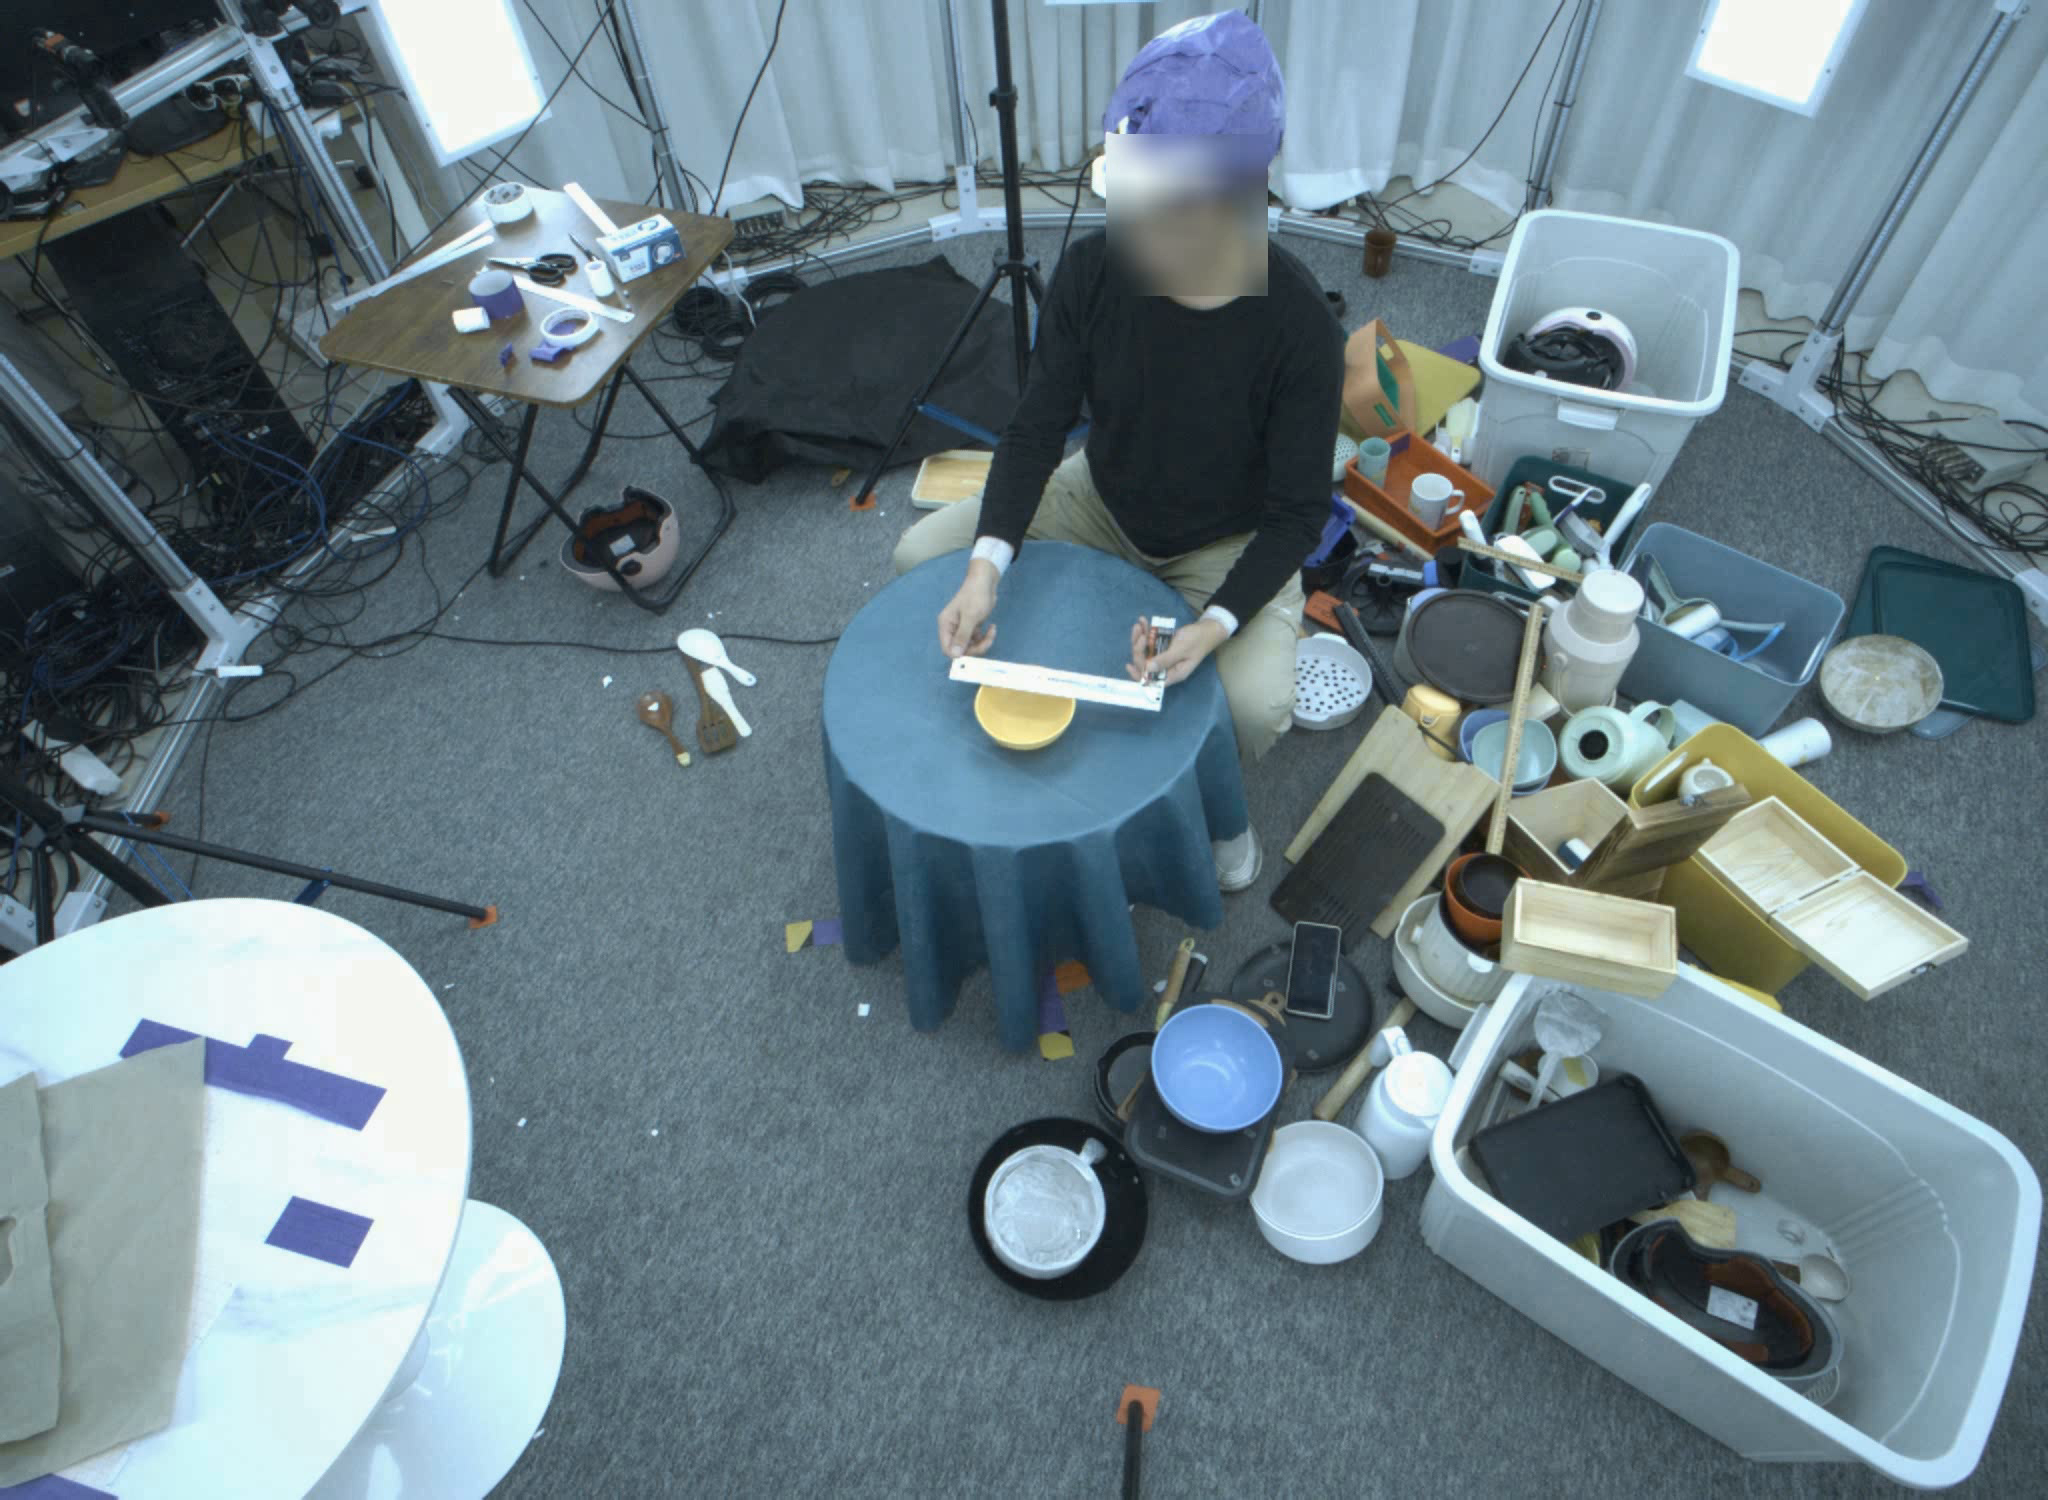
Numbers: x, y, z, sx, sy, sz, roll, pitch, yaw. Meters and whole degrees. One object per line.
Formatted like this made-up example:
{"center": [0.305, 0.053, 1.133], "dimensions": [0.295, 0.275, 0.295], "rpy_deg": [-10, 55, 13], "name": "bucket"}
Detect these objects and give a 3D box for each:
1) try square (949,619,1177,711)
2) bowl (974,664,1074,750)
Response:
{"center": [0.059, -0.145, 1.800], "dimensions": [0.312, 0.016, 0.151], "rpy_deg": [9, 64, 5], "name": "try square"}
{"center": [0.000, -0.051, 1.789], "dimensions": [0.145, 0.060, 0.144], "rpy_deg": [1, 55, -1], "name": "bowl"}
